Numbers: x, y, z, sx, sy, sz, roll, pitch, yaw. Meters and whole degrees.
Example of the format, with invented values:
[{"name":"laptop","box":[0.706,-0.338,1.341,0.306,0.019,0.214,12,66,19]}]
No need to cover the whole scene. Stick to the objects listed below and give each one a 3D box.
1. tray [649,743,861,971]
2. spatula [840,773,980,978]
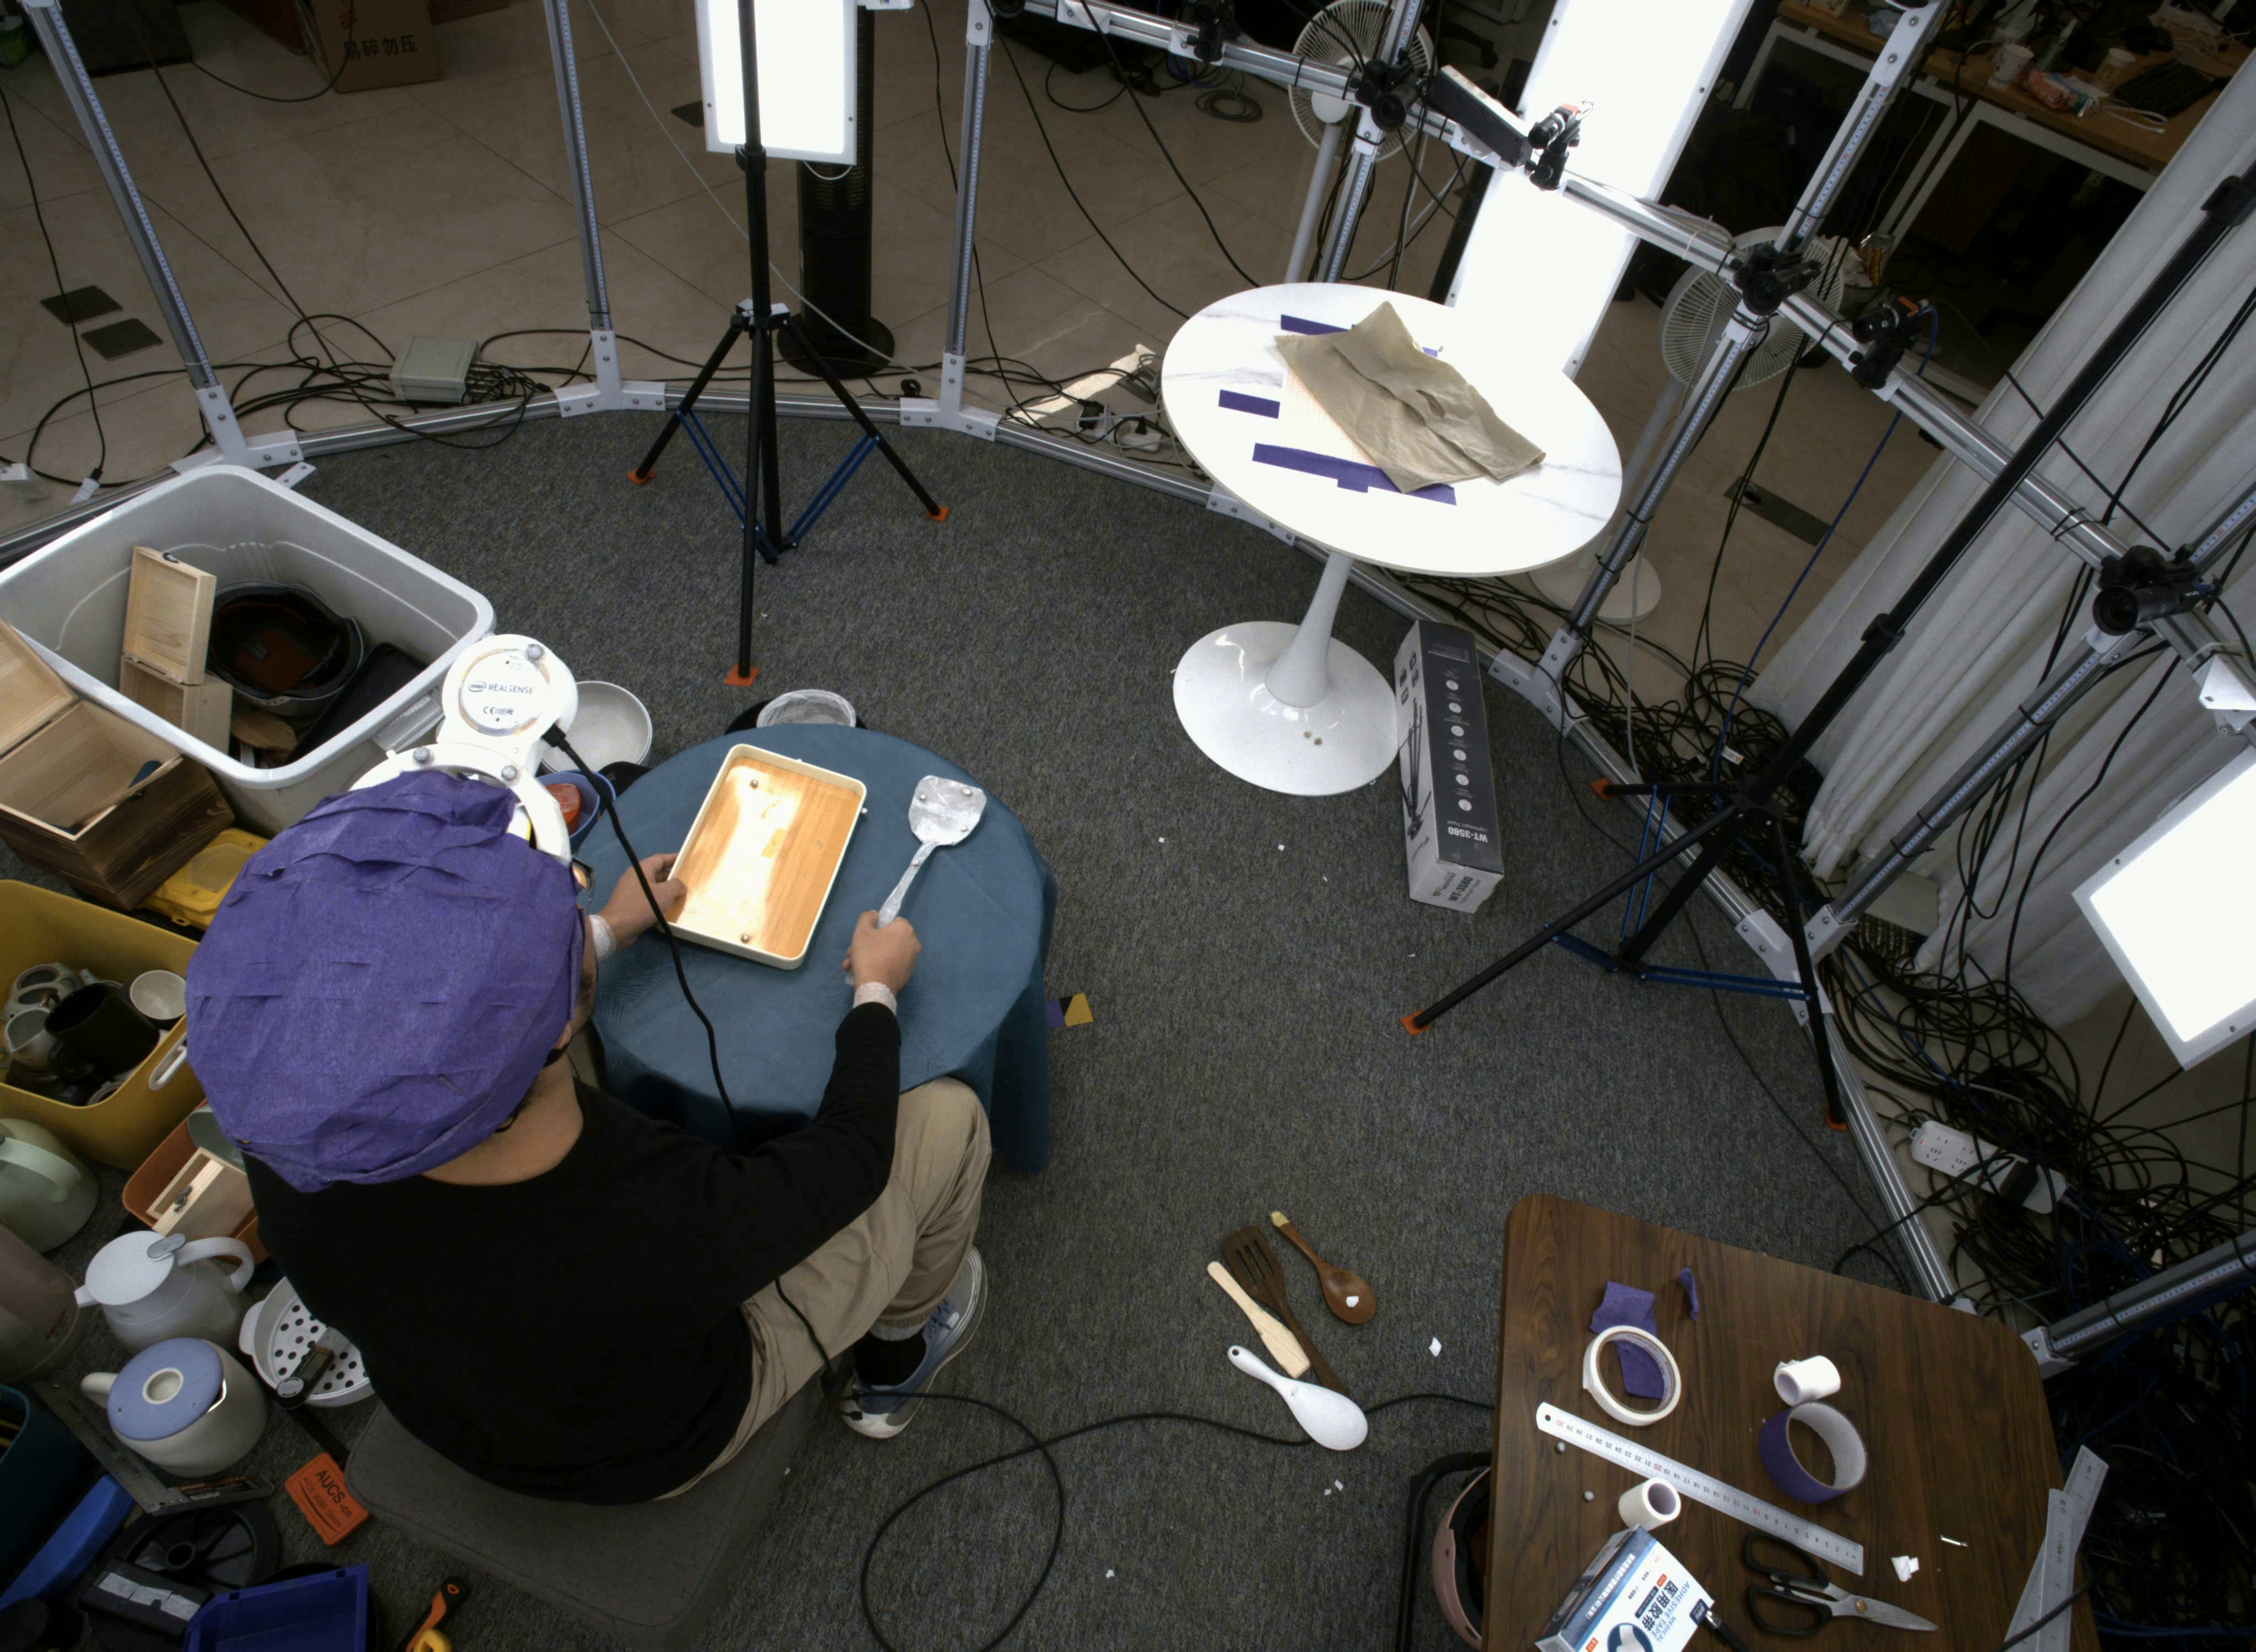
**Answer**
[{"name":"tray","box":[-0.470,0.032,1.649,0.192,0.028,0.296,19,50,-9]},{"name":"spatula","box":[-0.287,0.057,1.662,0.097,0.046,0.360,18,40,2]}]
